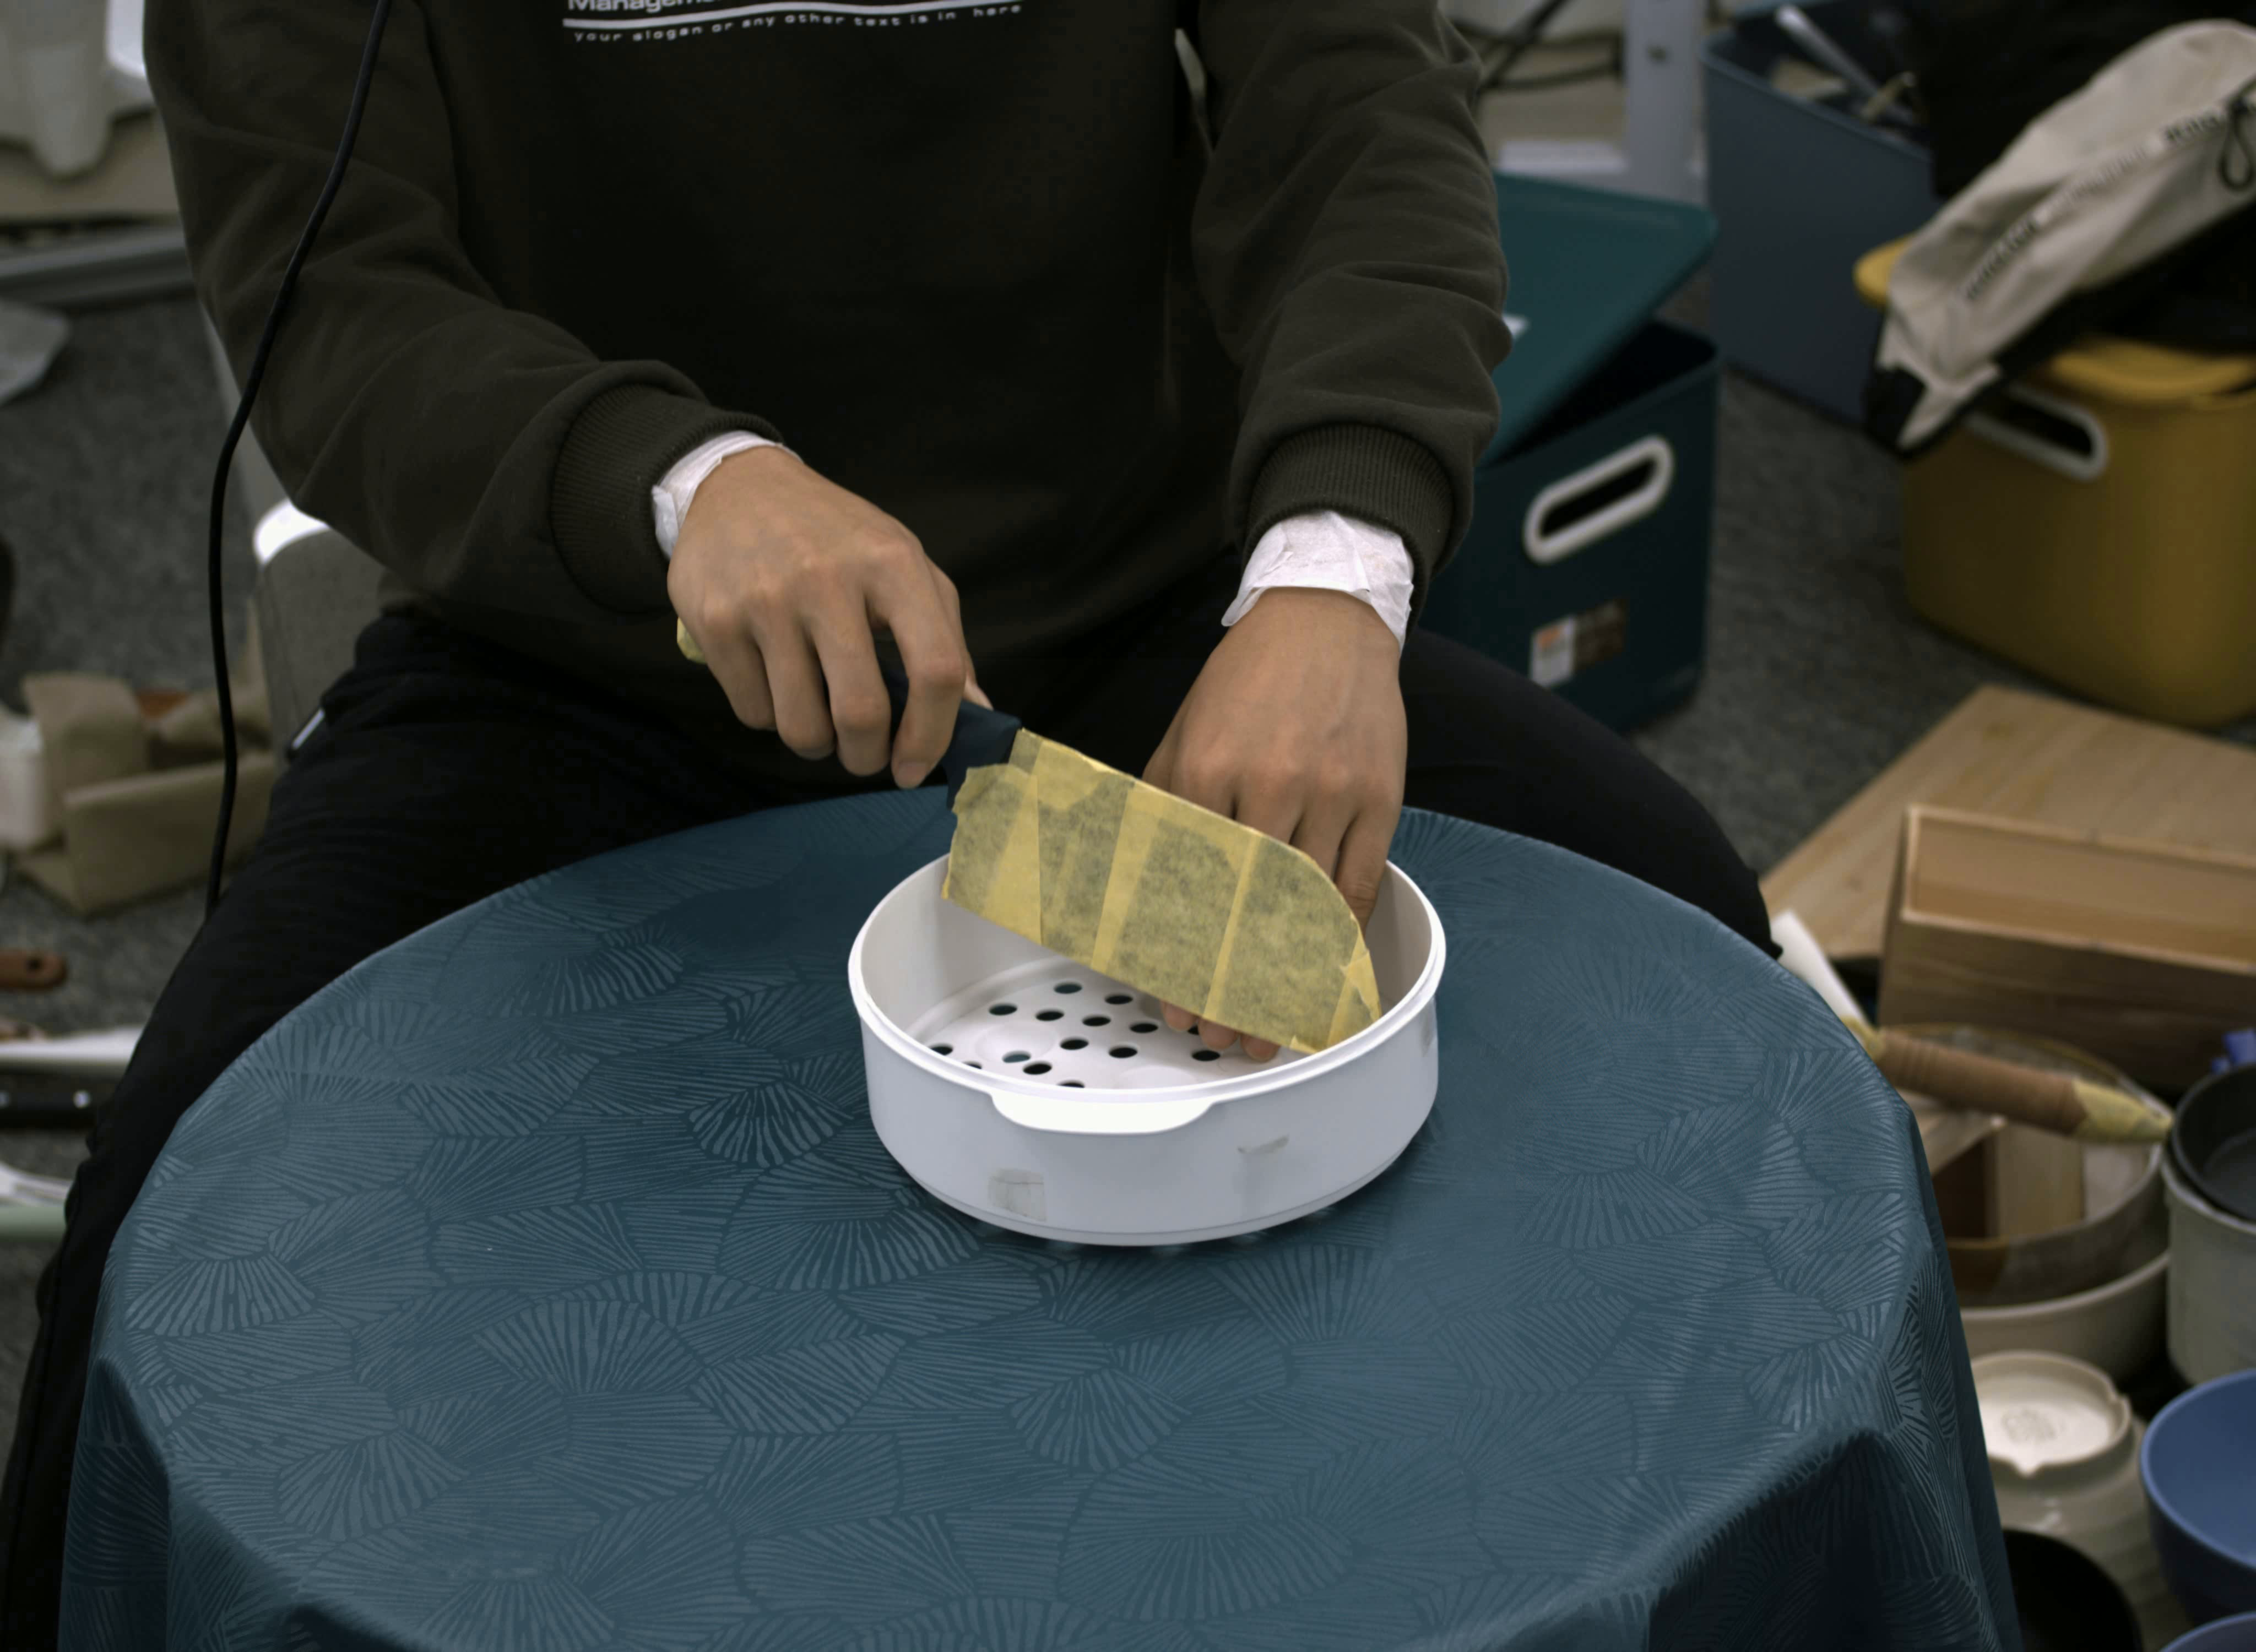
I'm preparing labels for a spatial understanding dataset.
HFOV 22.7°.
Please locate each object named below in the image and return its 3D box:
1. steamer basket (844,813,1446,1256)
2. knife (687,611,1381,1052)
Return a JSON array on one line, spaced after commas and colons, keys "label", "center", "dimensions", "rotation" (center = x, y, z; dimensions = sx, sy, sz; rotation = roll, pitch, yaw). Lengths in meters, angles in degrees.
[{"label": "steamer basket", "center": [0.007, 0.071, 1.887], "dimensions": [0.200, 0.068, 0.234], "rotation": [3, 26, 9]}, {"label": "knife", "center": [-0.035, 0.001, 1.916], "dimensions": [0.289, 0.080, 0.027], "rotation": [28, 23, 22]}]
